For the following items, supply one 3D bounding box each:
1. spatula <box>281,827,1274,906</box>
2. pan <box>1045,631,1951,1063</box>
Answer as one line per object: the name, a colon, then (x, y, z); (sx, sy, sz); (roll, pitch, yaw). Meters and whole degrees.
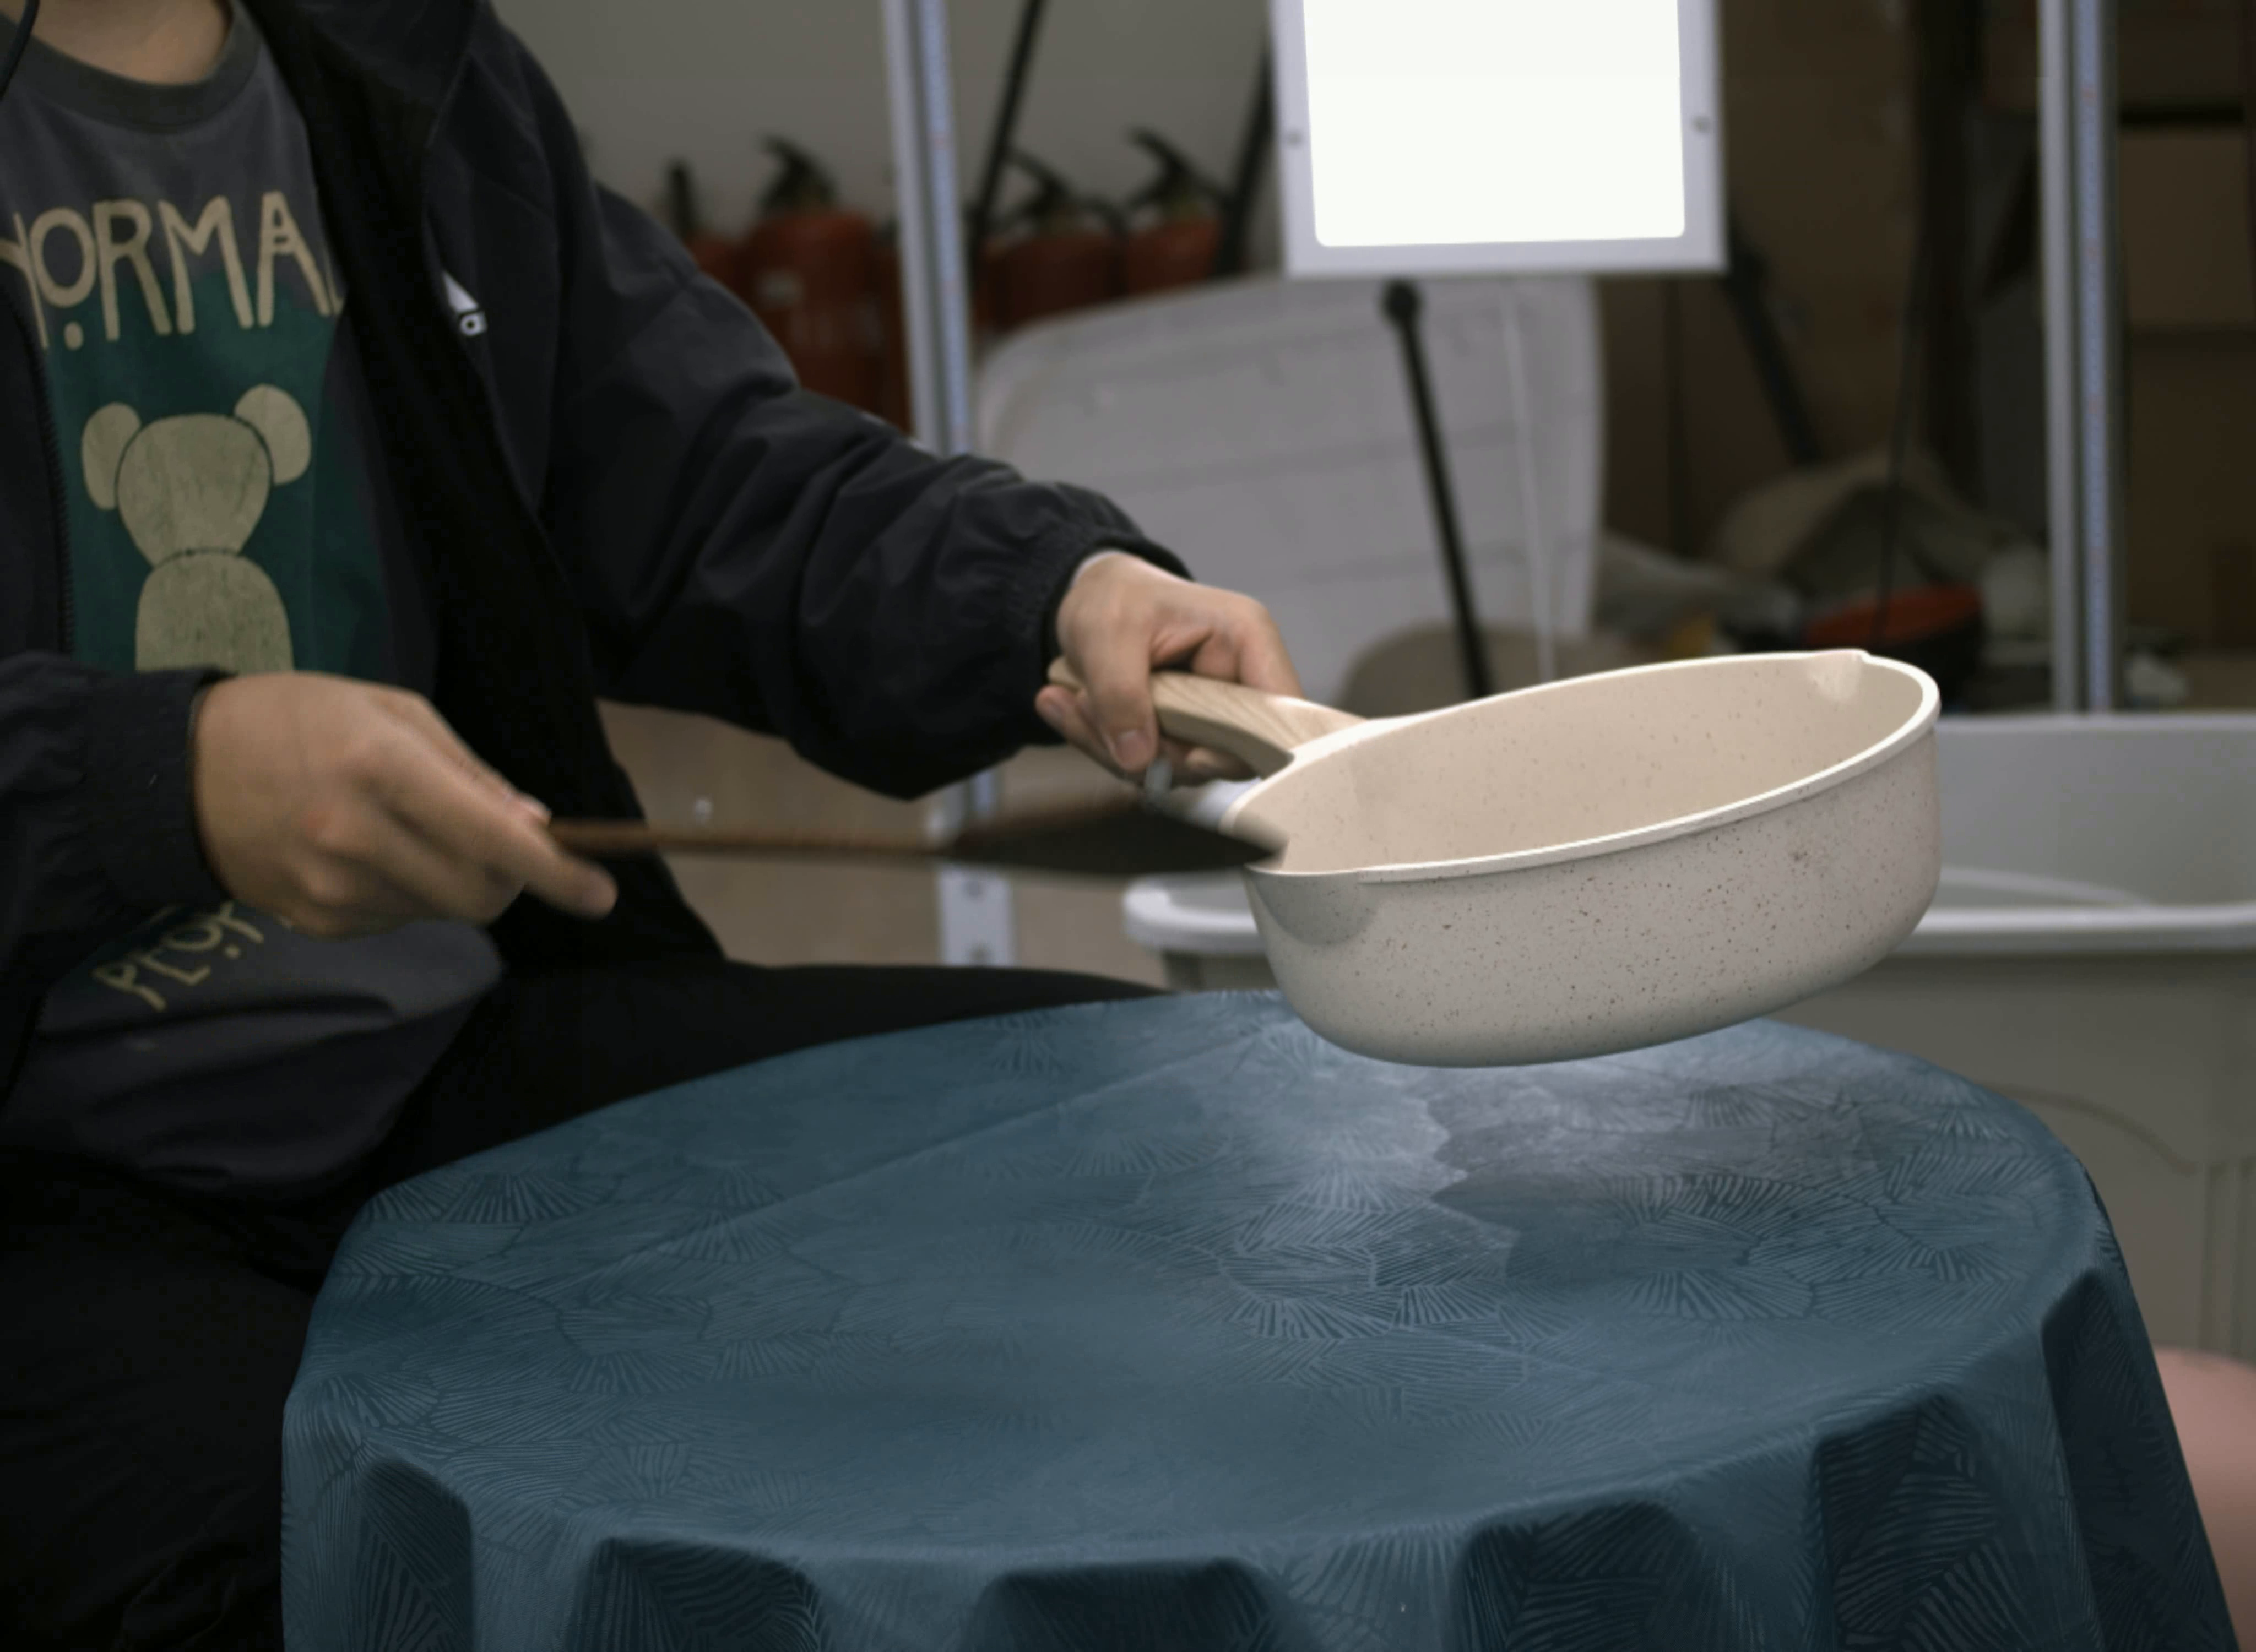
spatula: (-0.129, 0.012, 1.798); (0.394, 0.016, 0.094); (1, -9, 35)
pan: (0.111, -0.003, 1.957); (0.257, 0.102, 0.444); (-22, 16, -30)
